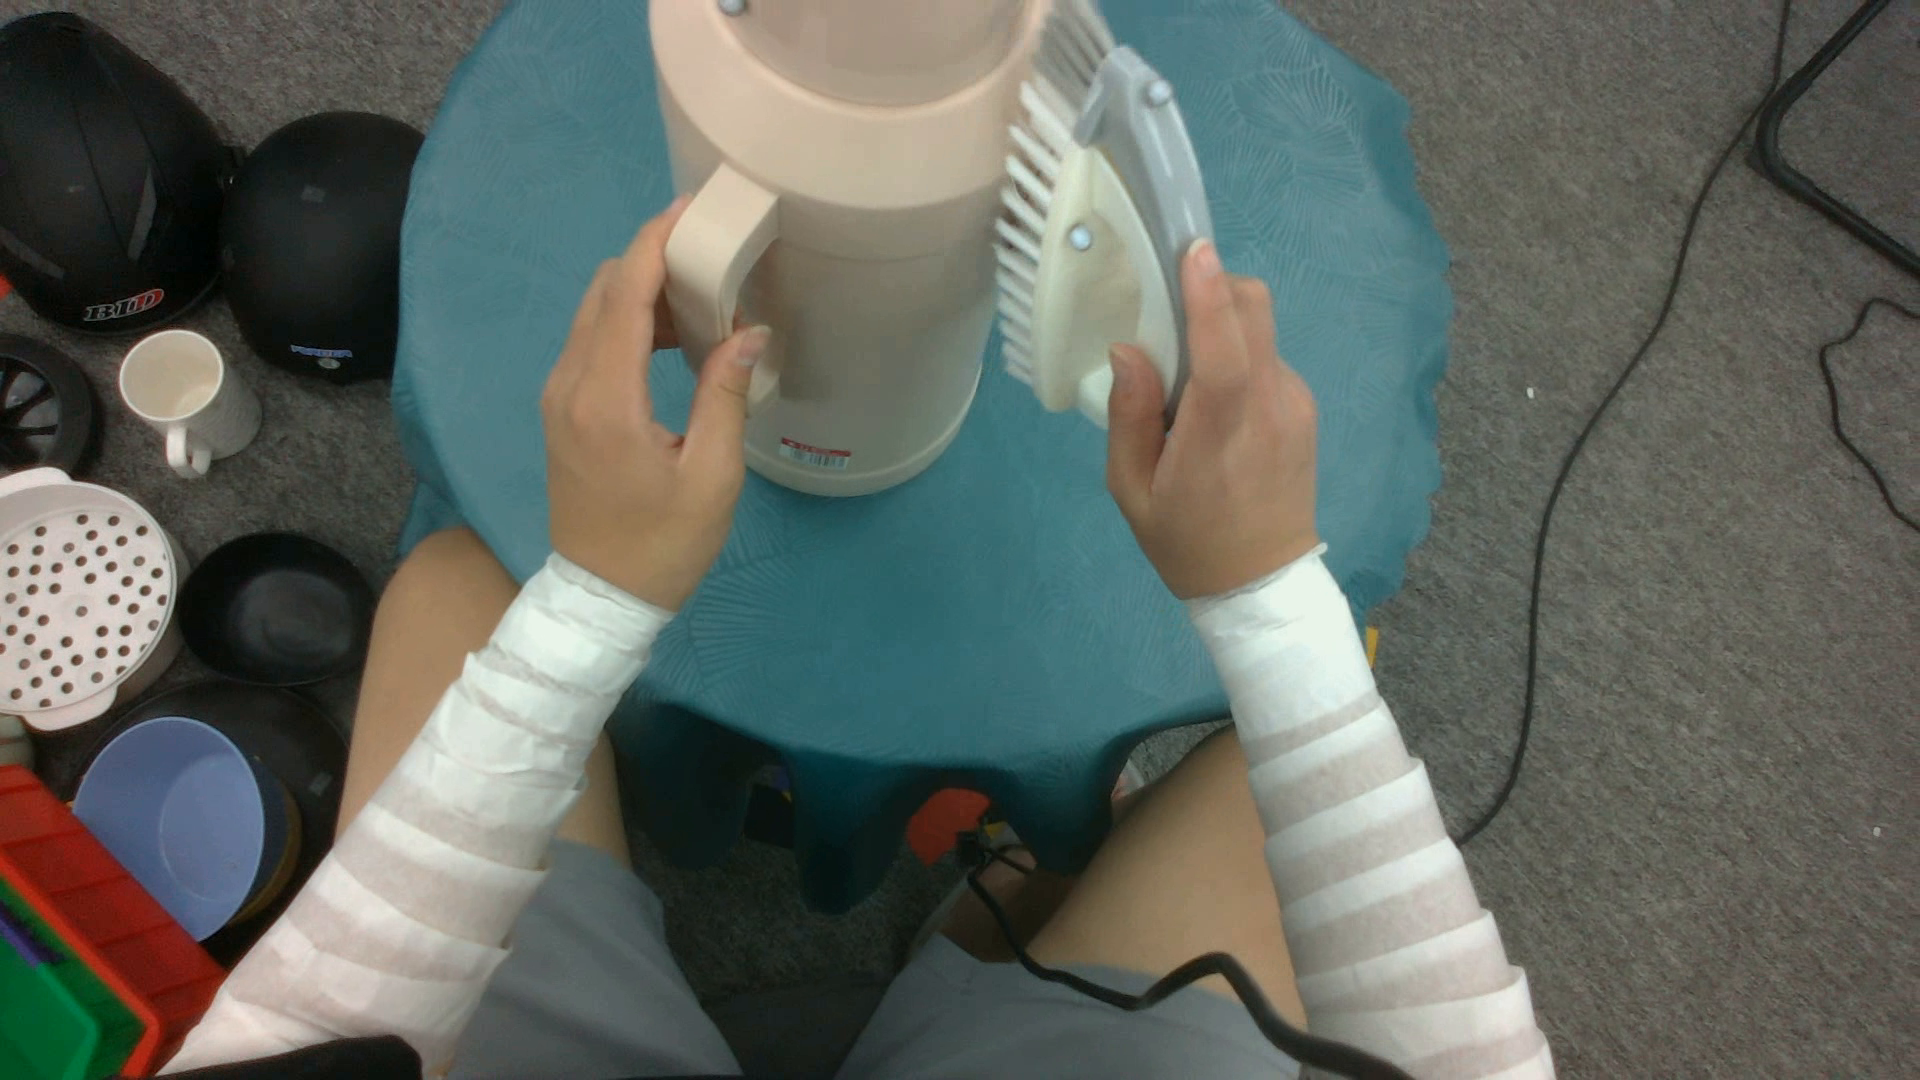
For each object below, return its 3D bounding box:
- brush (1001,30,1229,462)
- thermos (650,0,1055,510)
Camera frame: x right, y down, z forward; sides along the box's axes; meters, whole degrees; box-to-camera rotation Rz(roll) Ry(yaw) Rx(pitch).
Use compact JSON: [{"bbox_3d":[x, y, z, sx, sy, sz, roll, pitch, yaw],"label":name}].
[{"bbox_3d":[0.062,-0.097,0.518,0.061,0.175,0.094,-32,58,-19],"label":"brush"},{"bbox_3d":[-0.058,-0.141,0.612,0.175,0.405,0.208,30,71,2],"label":"thermos"}]
